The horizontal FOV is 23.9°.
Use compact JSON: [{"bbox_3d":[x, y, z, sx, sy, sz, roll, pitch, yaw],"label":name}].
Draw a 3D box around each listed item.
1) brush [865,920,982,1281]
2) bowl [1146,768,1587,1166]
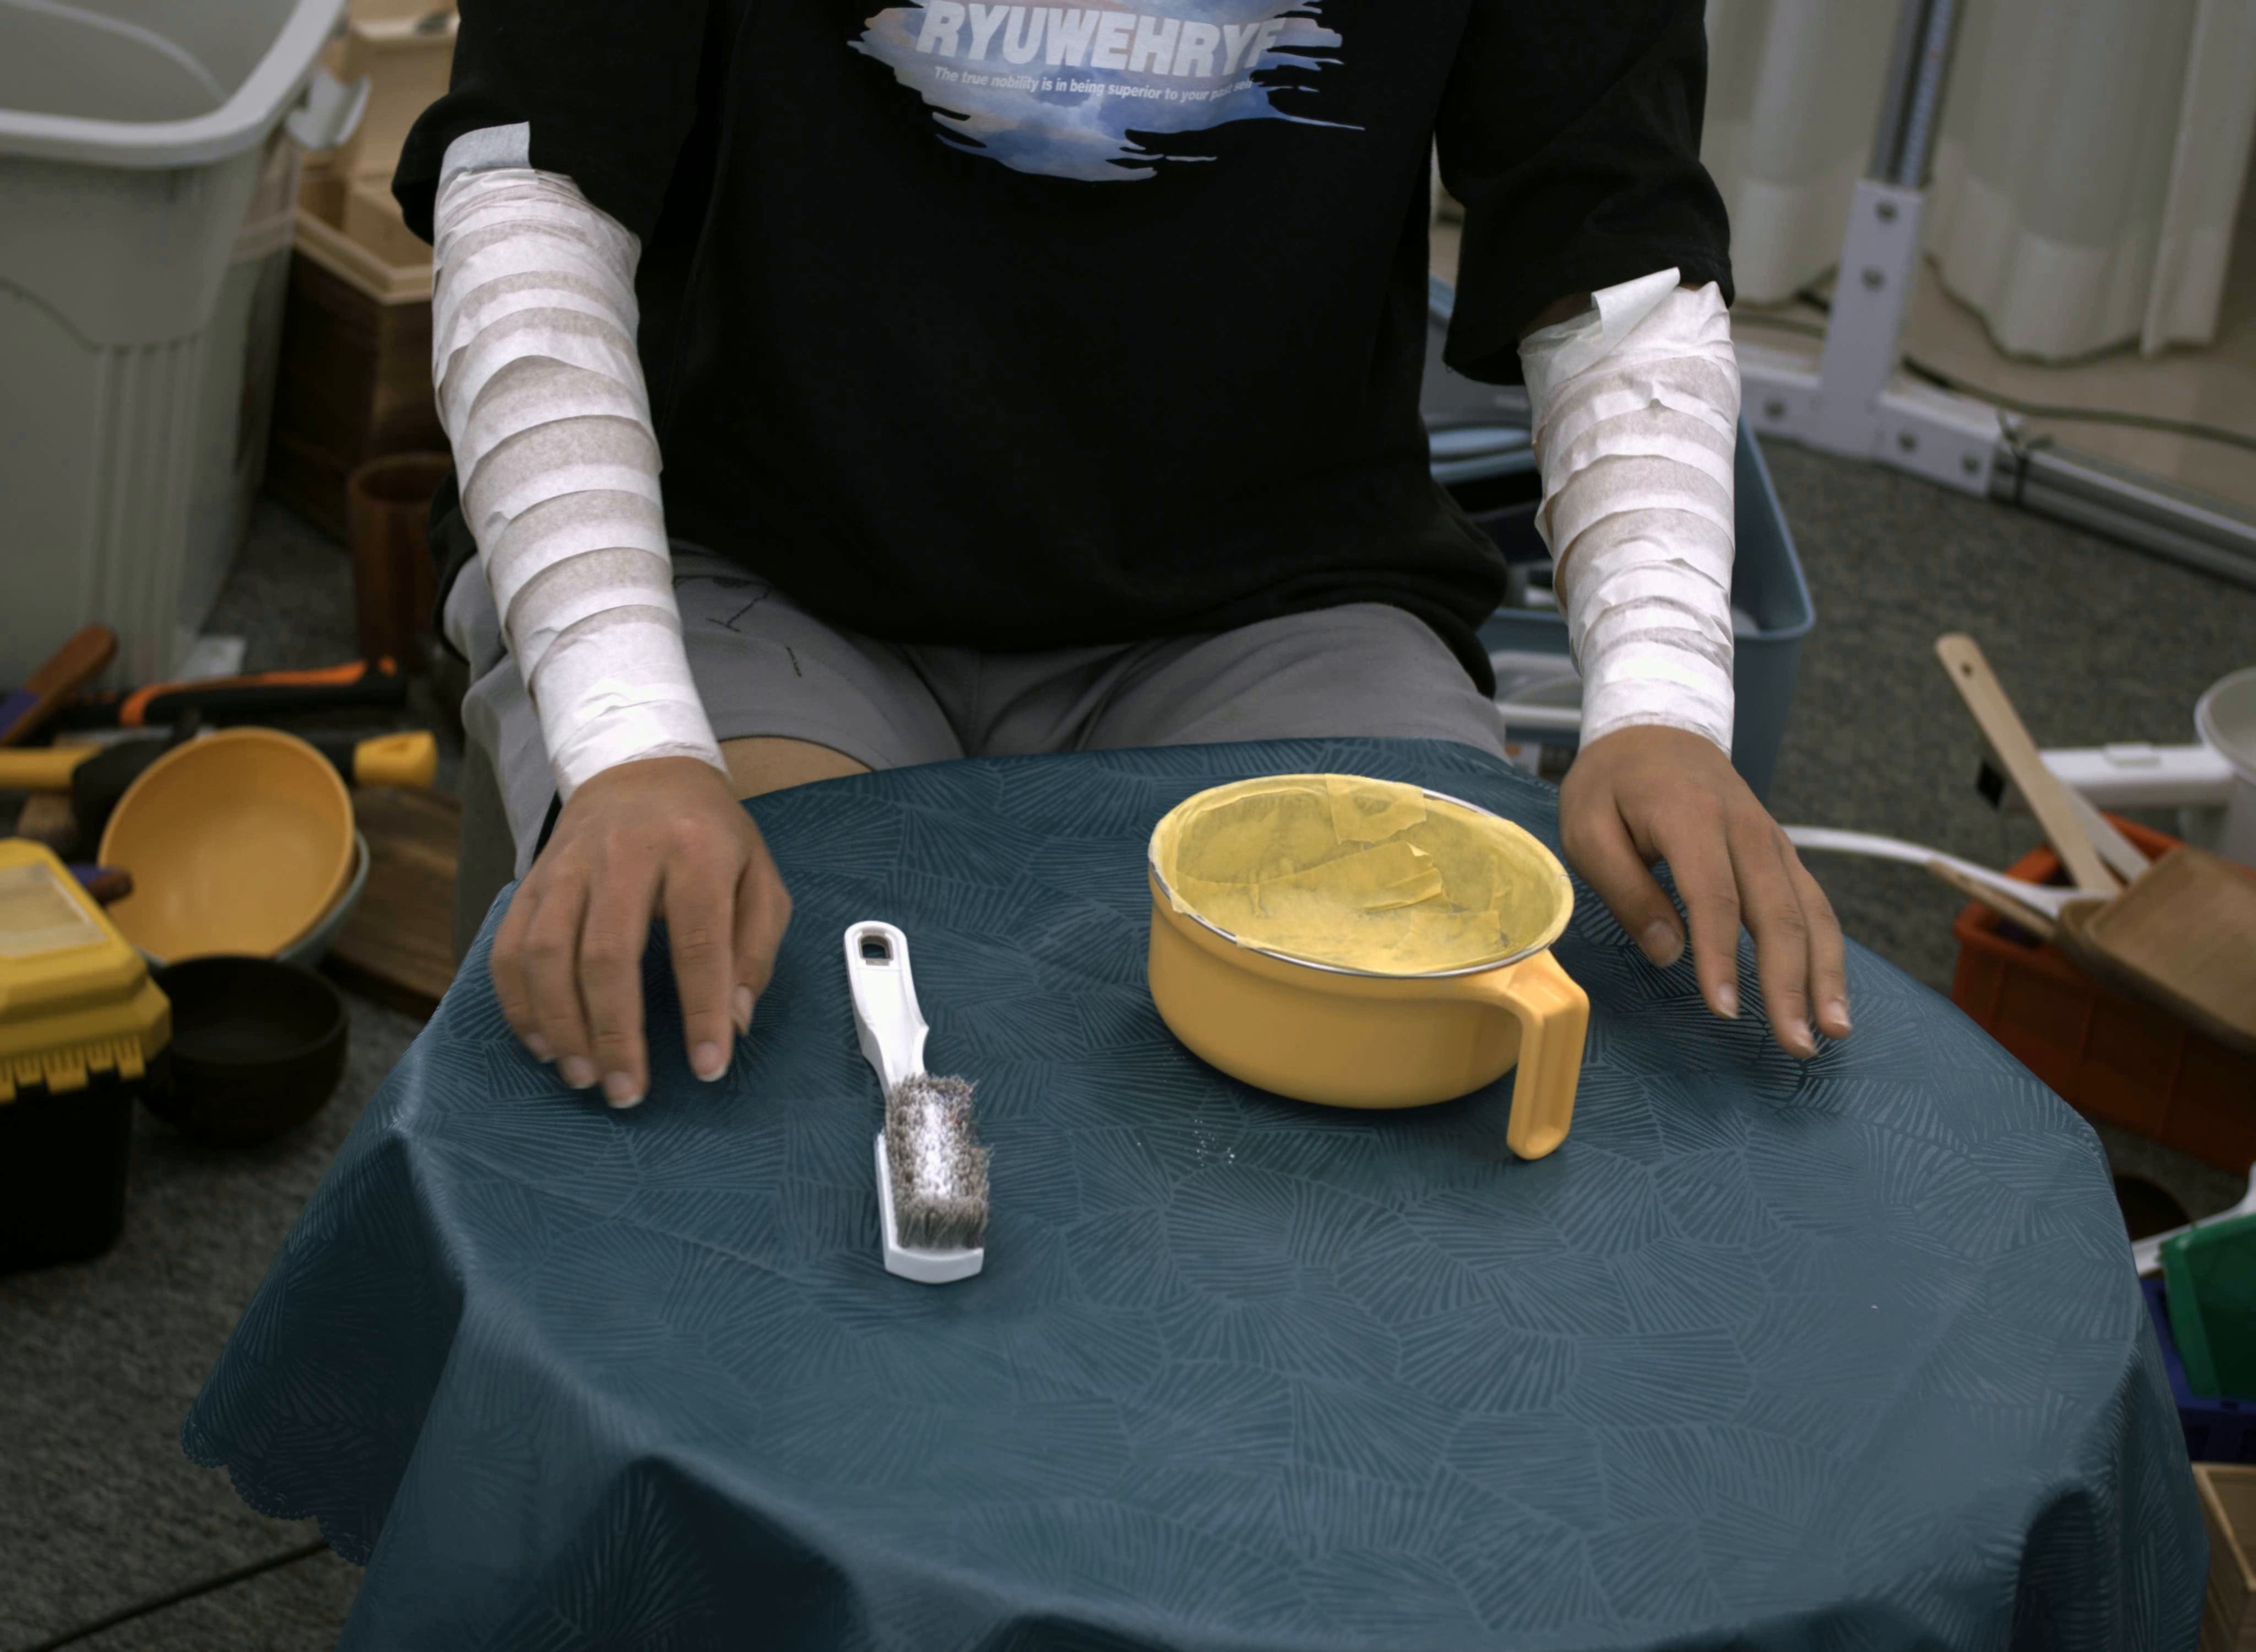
[{"bbox_3d":[-0.073,0.076,1.826,0.034,0.050,0.245,2,27,-6],"label":"brush"},{"bbox_3d":[0.087,0.050,1.894,0.180,0.074,0.152,30,30,36],"label":"bowl"}]
